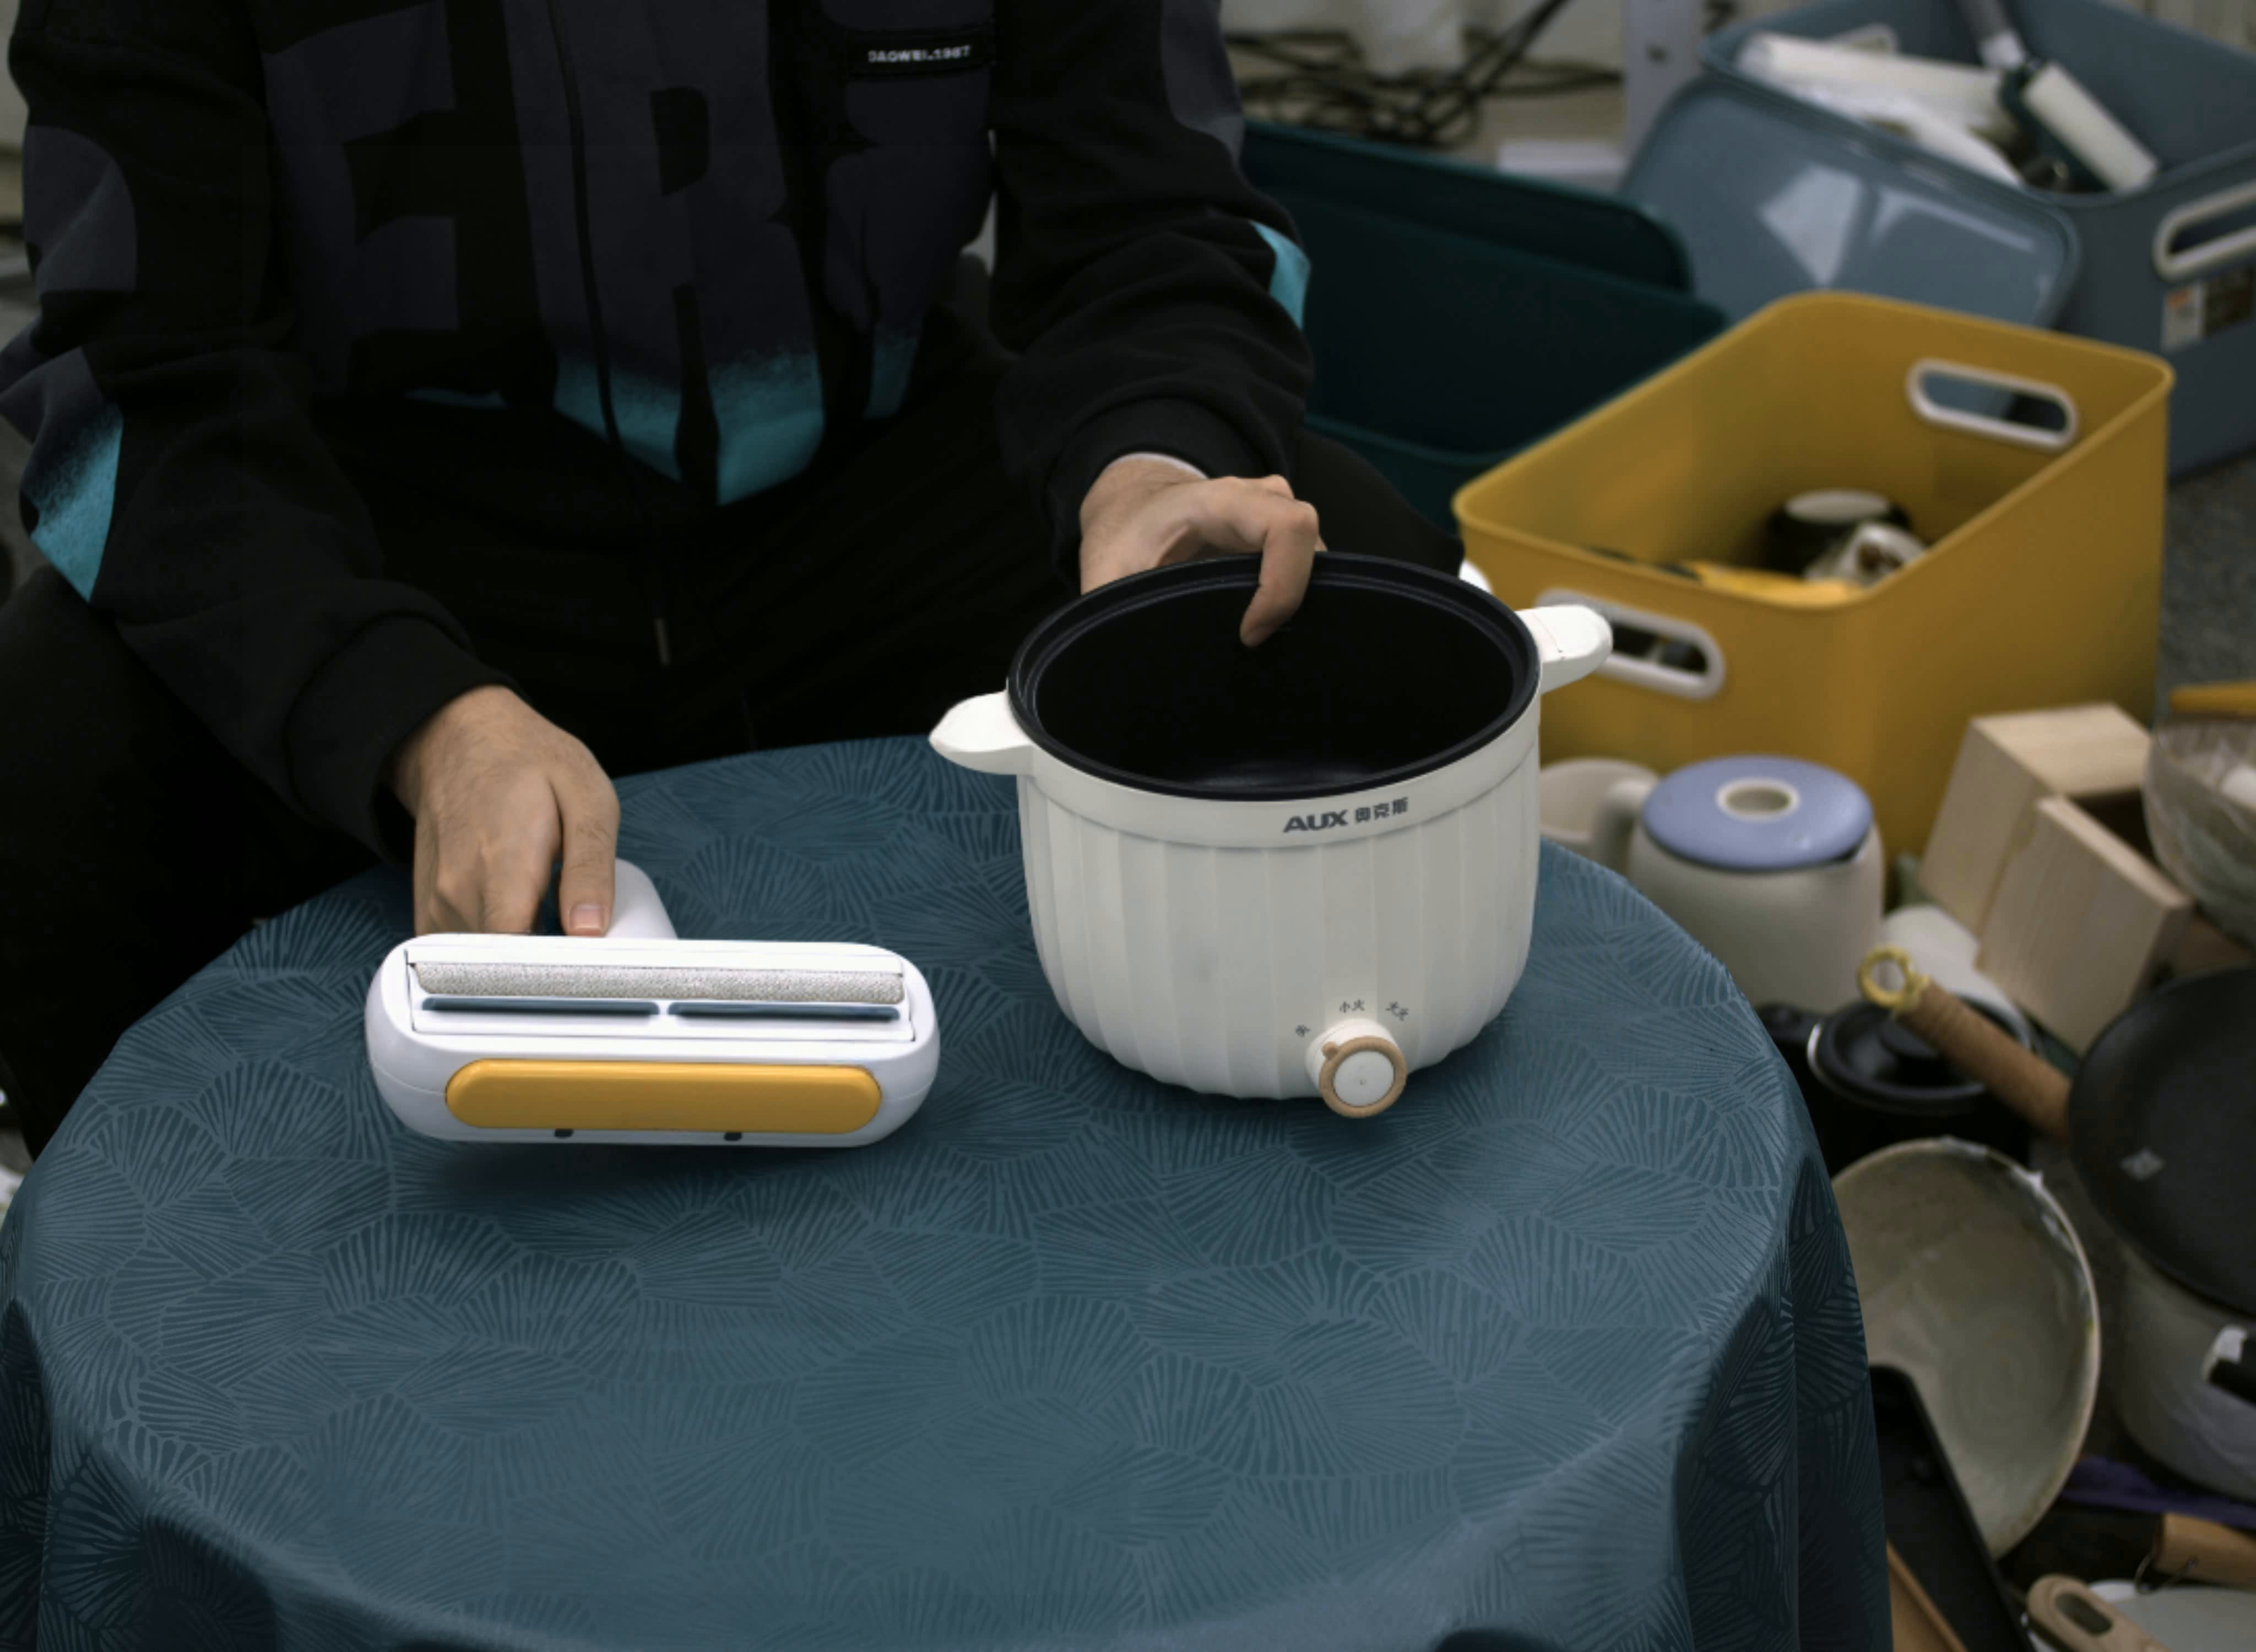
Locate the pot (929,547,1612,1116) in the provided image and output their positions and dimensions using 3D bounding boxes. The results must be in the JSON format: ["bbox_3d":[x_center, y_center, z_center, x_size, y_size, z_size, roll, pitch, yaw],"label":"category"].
[{"bbox_3d":[0.055,0.006,1.927,0.240,0.141,0.192,-10,25,-11],"label":"pot"}]

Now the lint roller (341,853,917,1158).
[{"bbox_3d":[-0.174,0.049,1.934,0.192,0.073,0.195,0,30,-9],"label":"lint roller"}]
